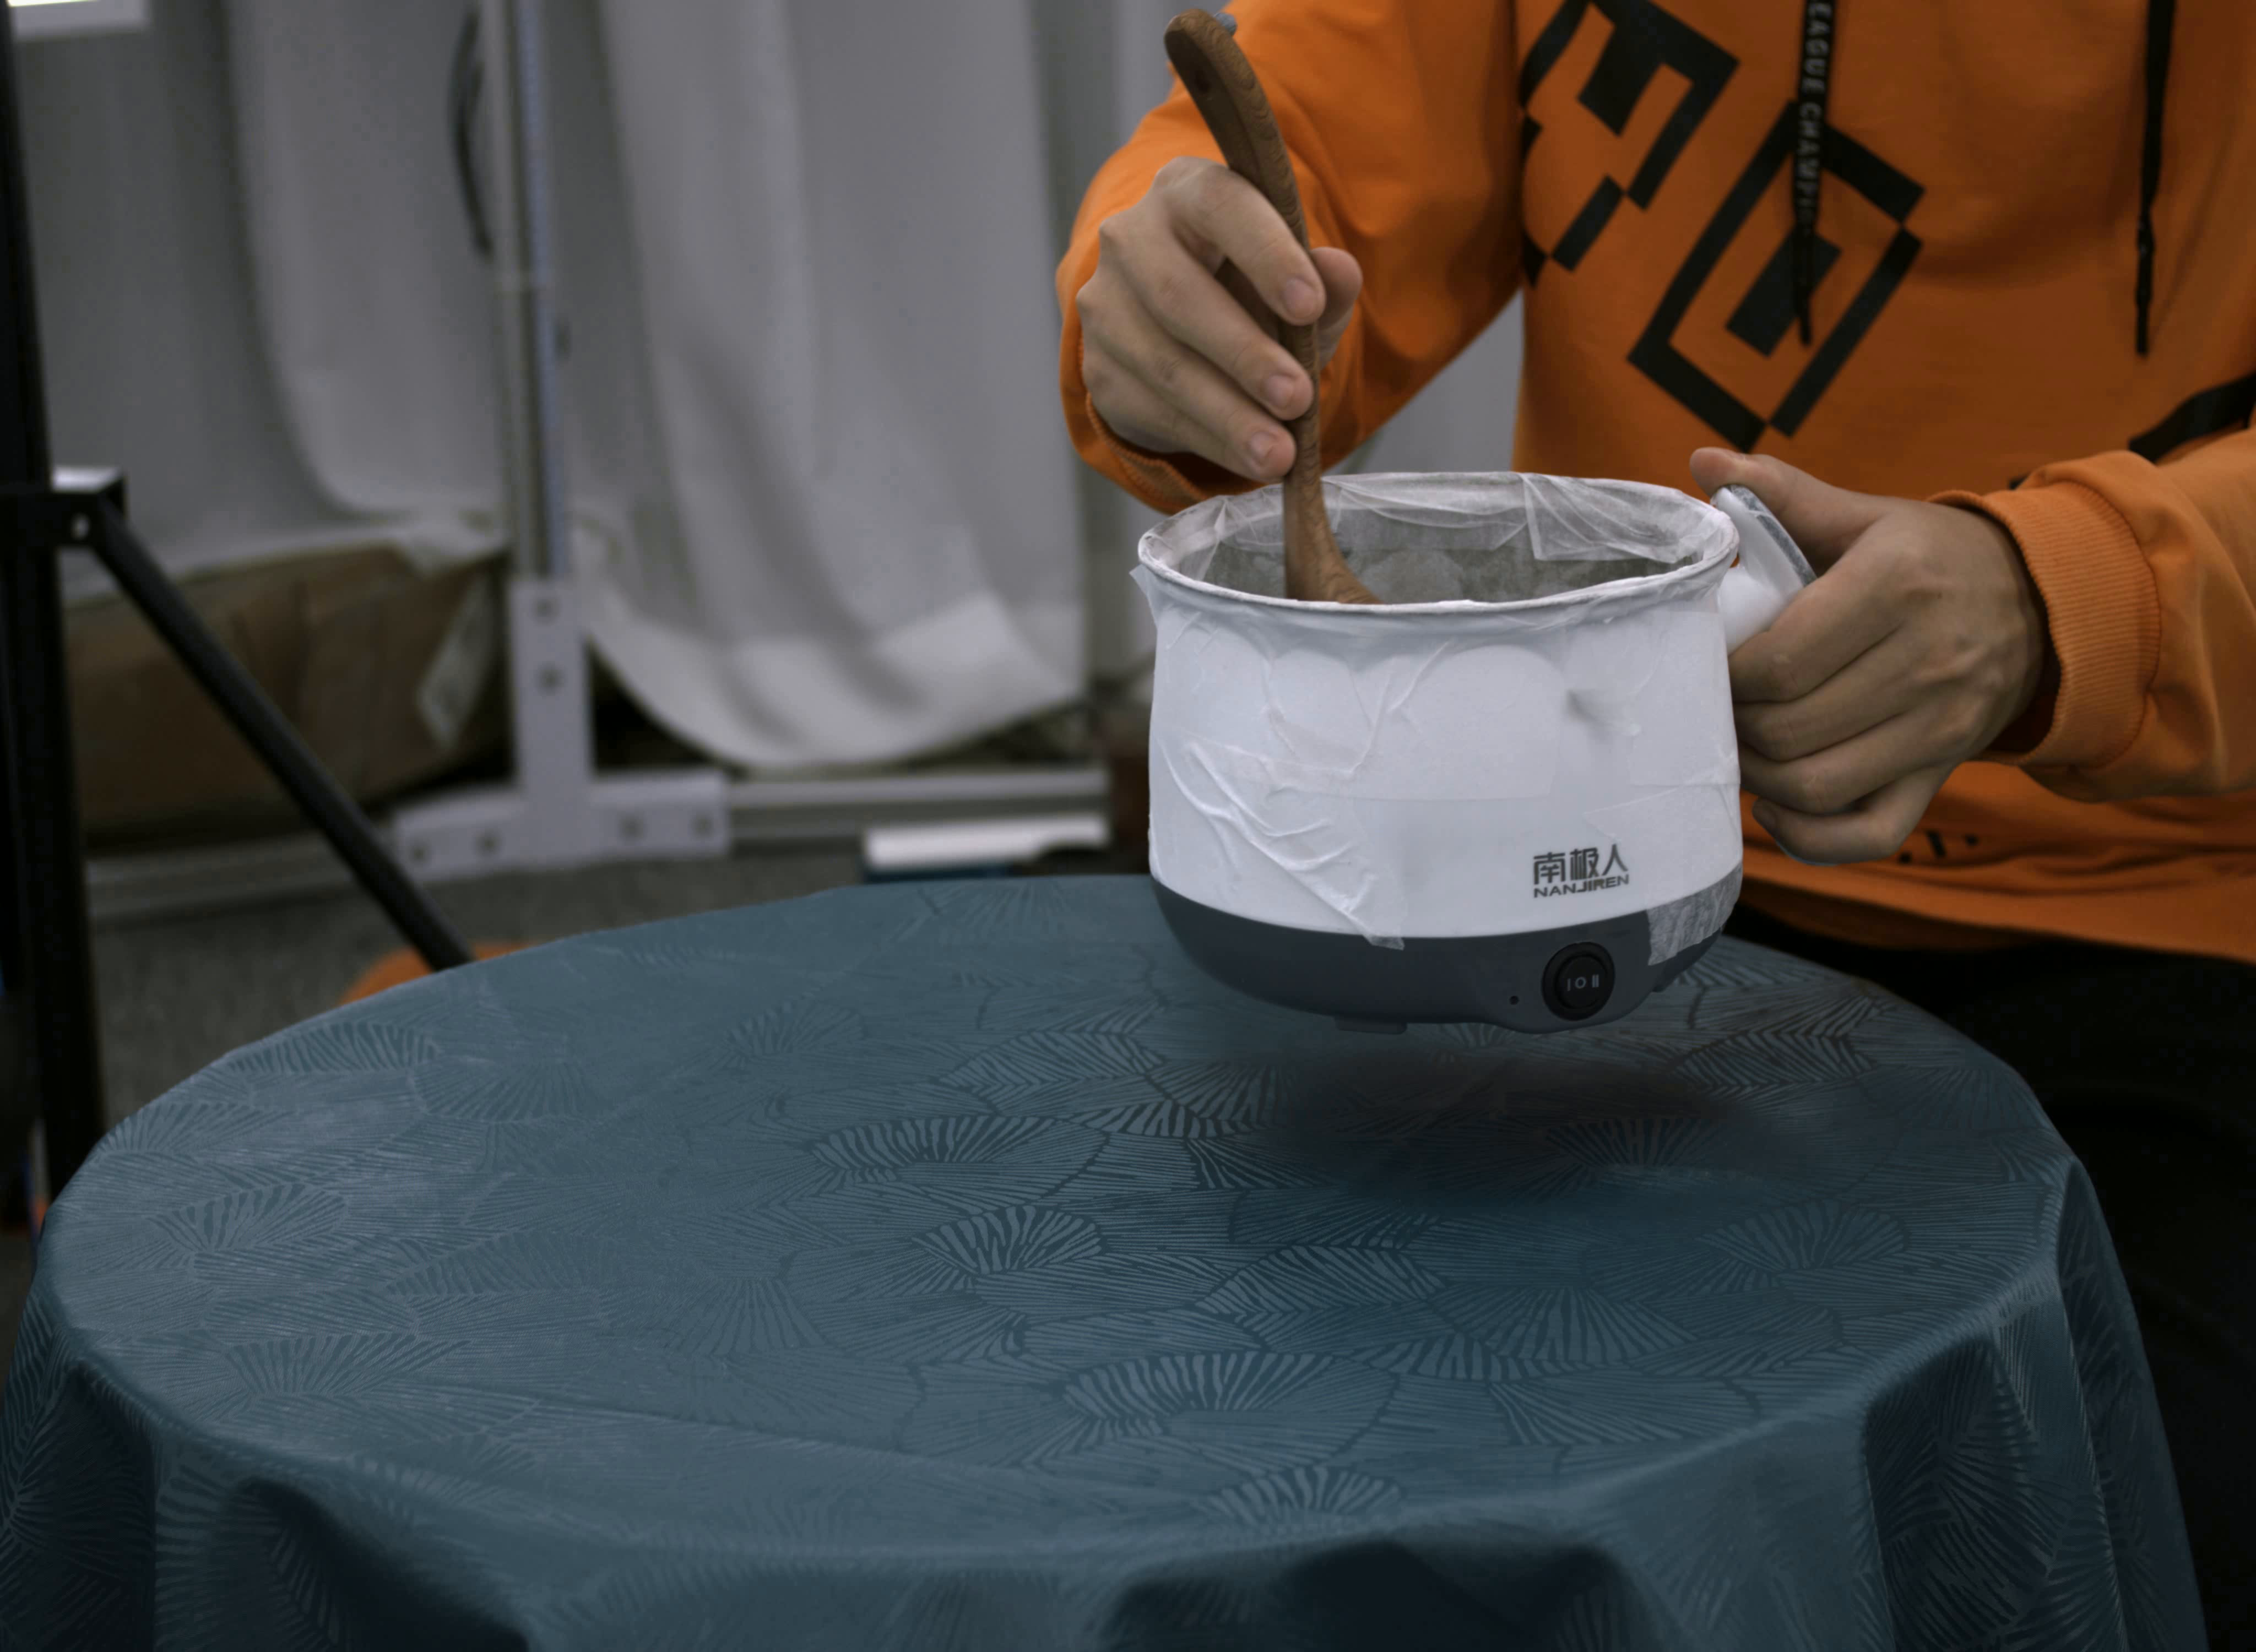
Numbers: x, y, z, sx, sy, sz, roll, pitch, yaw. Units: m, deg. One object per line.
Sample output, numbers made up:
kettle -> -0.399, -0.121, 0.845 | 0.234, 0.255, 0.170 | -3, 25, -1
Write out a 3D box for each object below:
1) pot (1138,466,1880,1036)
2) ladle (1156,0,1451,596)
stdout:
pot -> 0.118, -0.028, 1.583 | 0.229, 0.136, 0.182 | -9, 17, -22
ladle -> 0.069, -0.130, 1.584 | 0.064, 0.263, 0.077 | -8, -14, -26
